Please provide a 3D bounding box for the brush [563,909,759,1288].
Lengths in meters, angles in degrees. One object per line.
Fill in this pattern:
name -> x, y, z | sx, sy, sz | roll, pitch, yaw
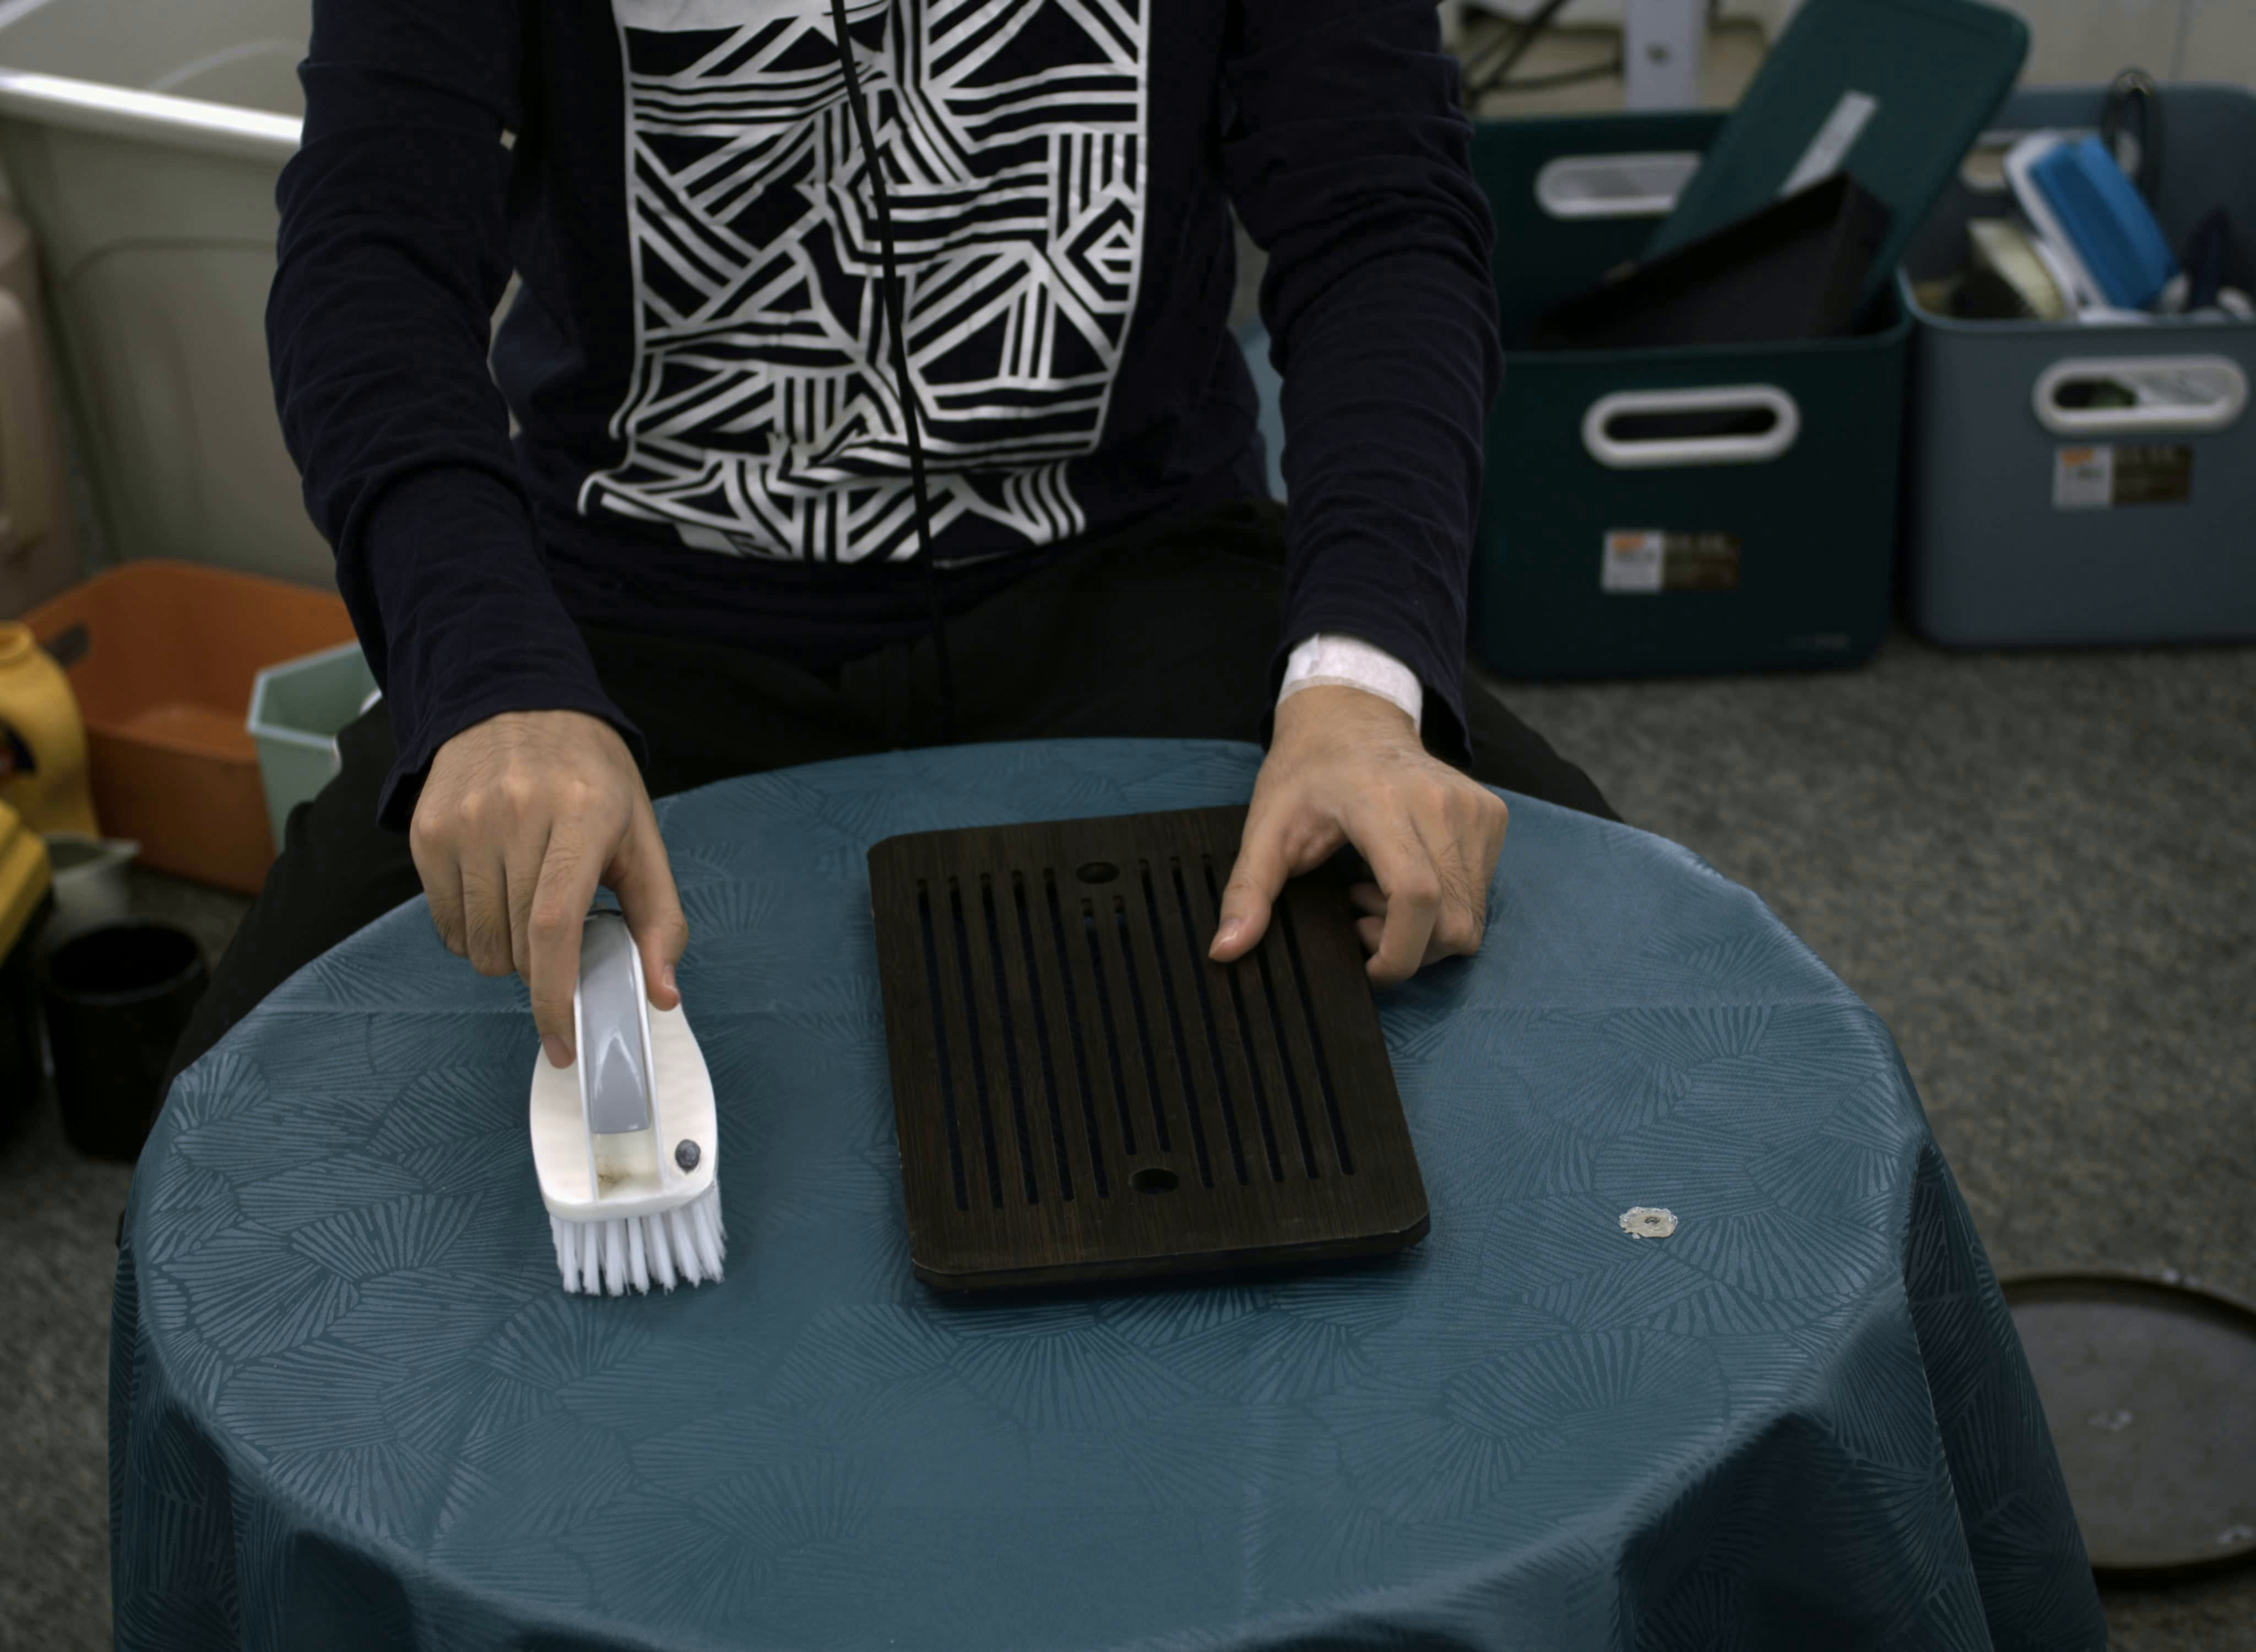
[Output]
brush -> -0.161, 0.075, 1.872 | 0.061, 0.093, 0.177 | -8, 26, -7

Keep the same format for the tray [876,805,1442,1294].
tray -> 0.005, 0.074, 1.932 | 0.169, 0.018, 0.310 | -5, 27, -4
